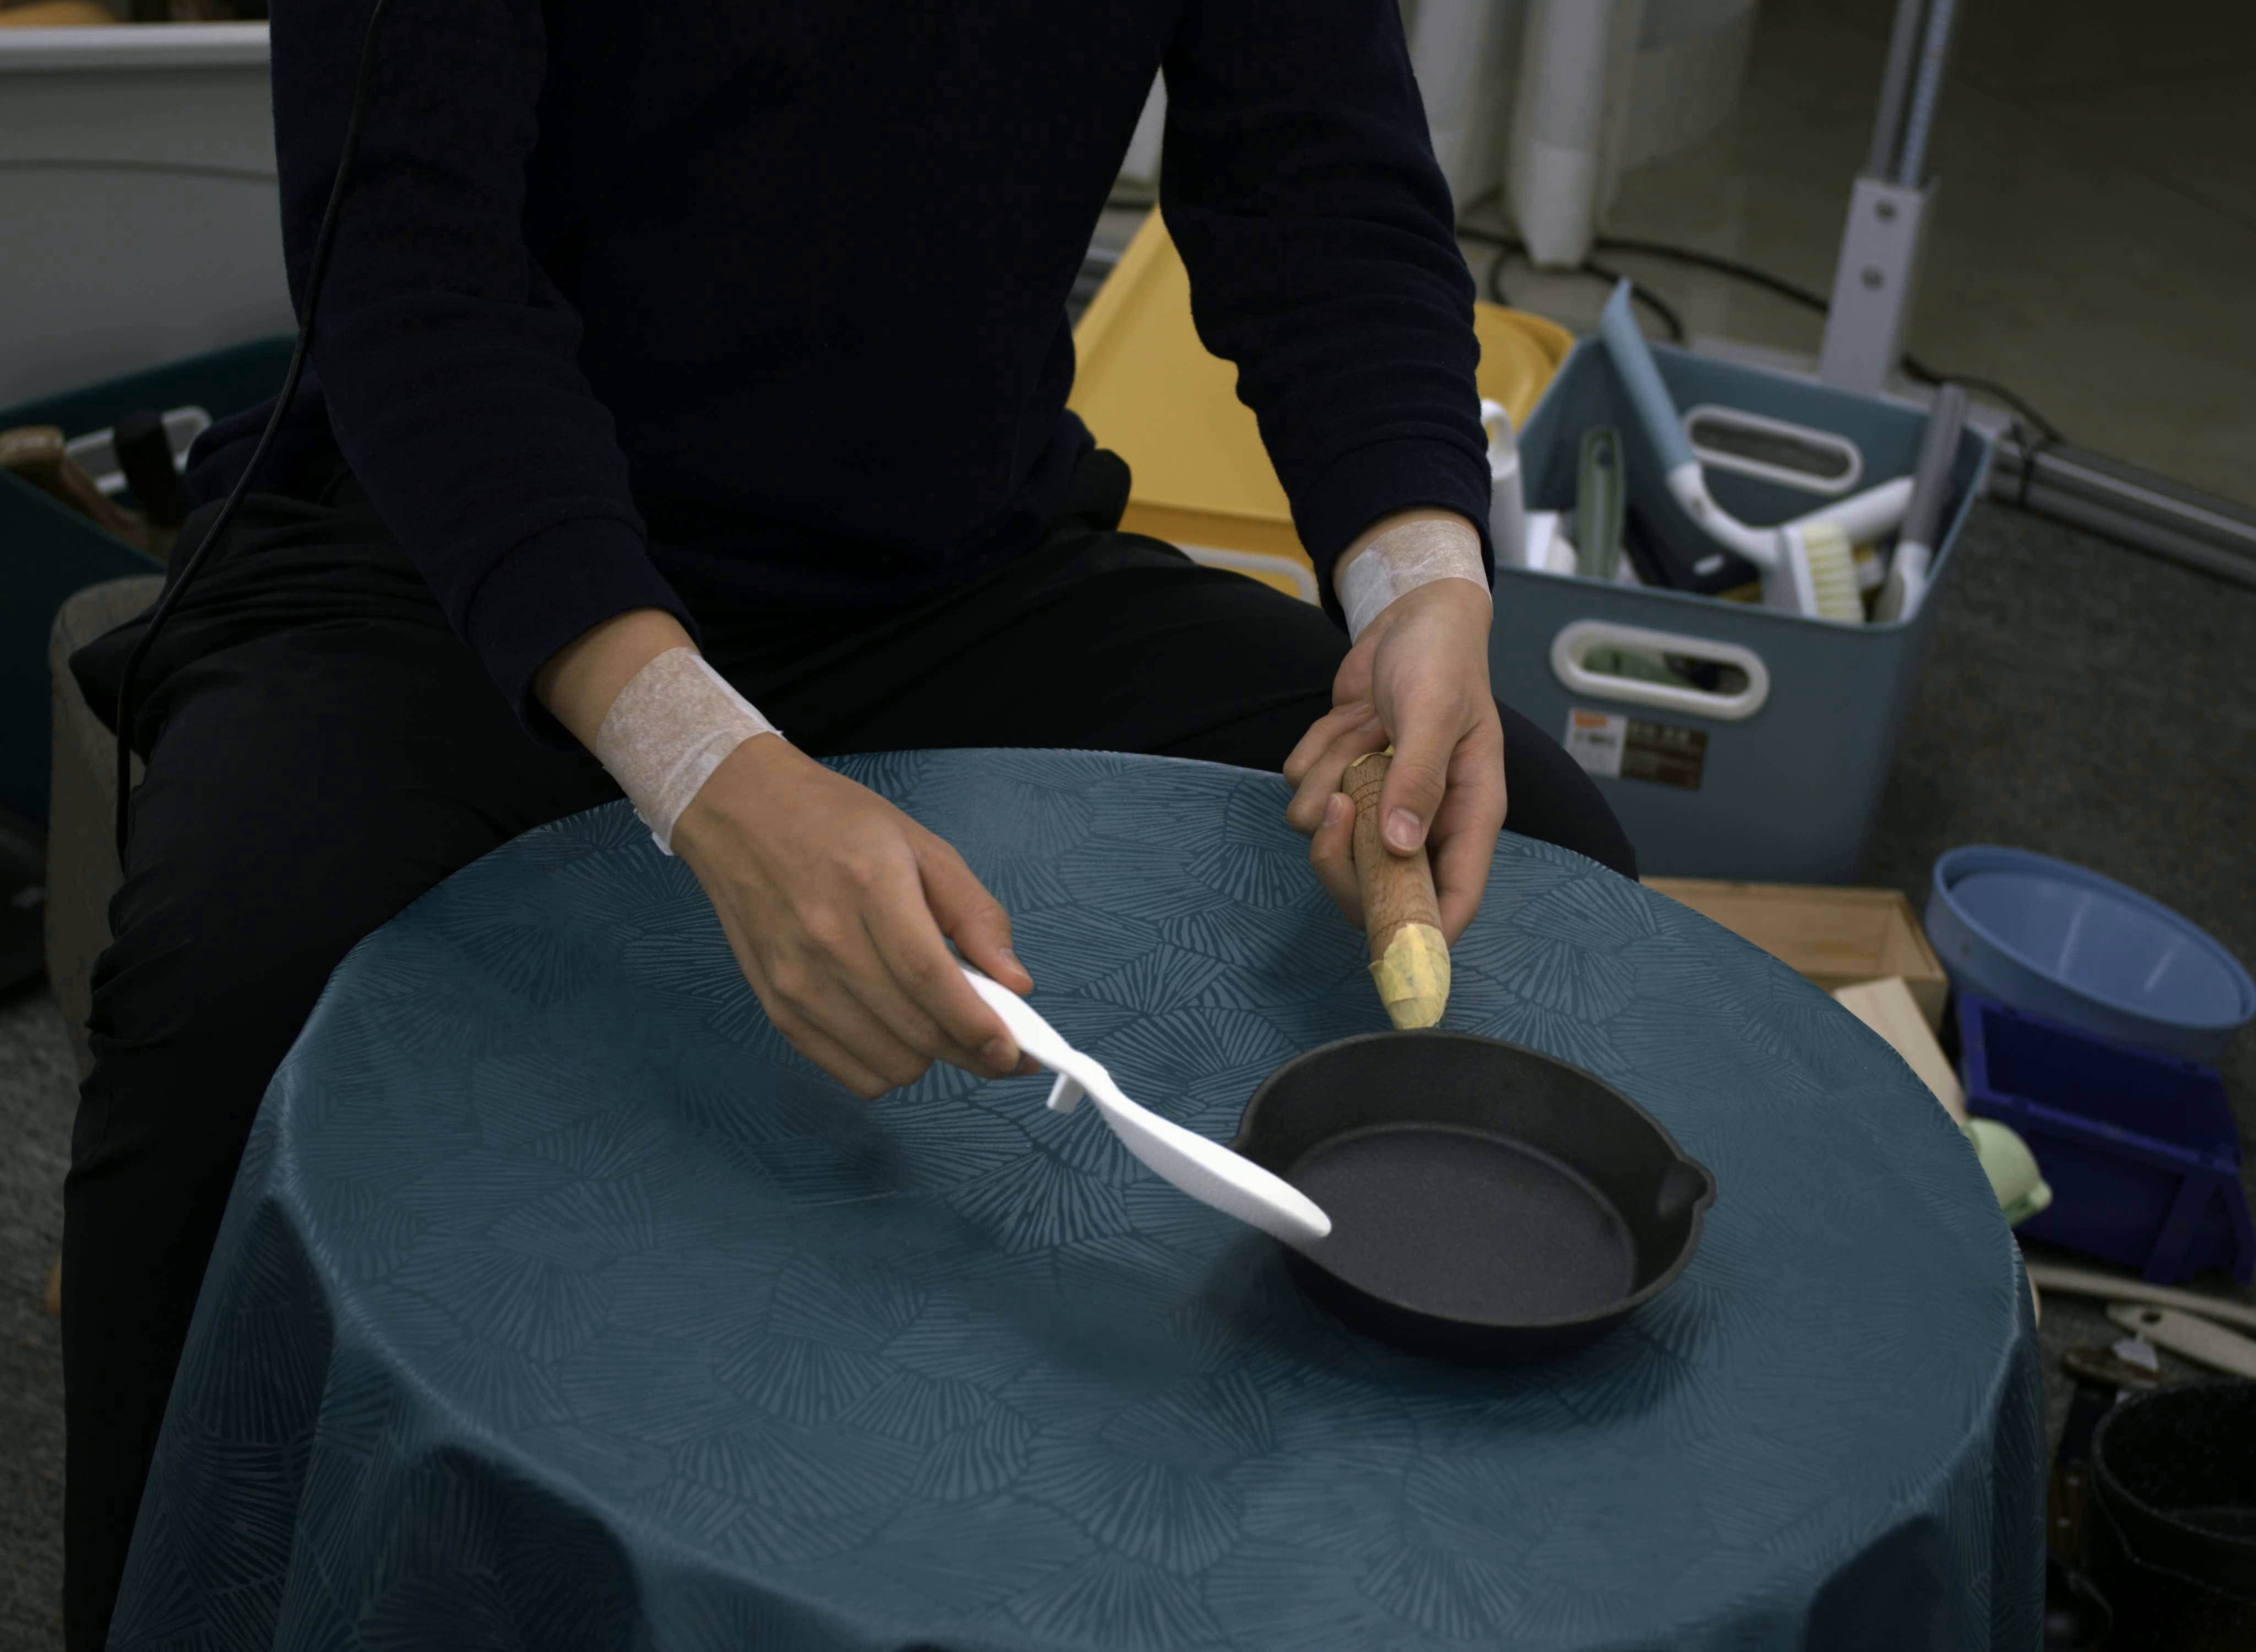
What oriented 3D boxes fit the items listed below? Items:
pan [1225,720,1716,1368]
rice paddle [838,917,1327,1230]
[{"bbox_3d":[0.105,0.072,1.835,0.168,0.049,0.327,4,35,-8],"label":"pan"},{"bbox_3d":[-0.014,0.084,1.736,0.207,0.029,0.068,29,6,36],"label":"rice paddle"}]
